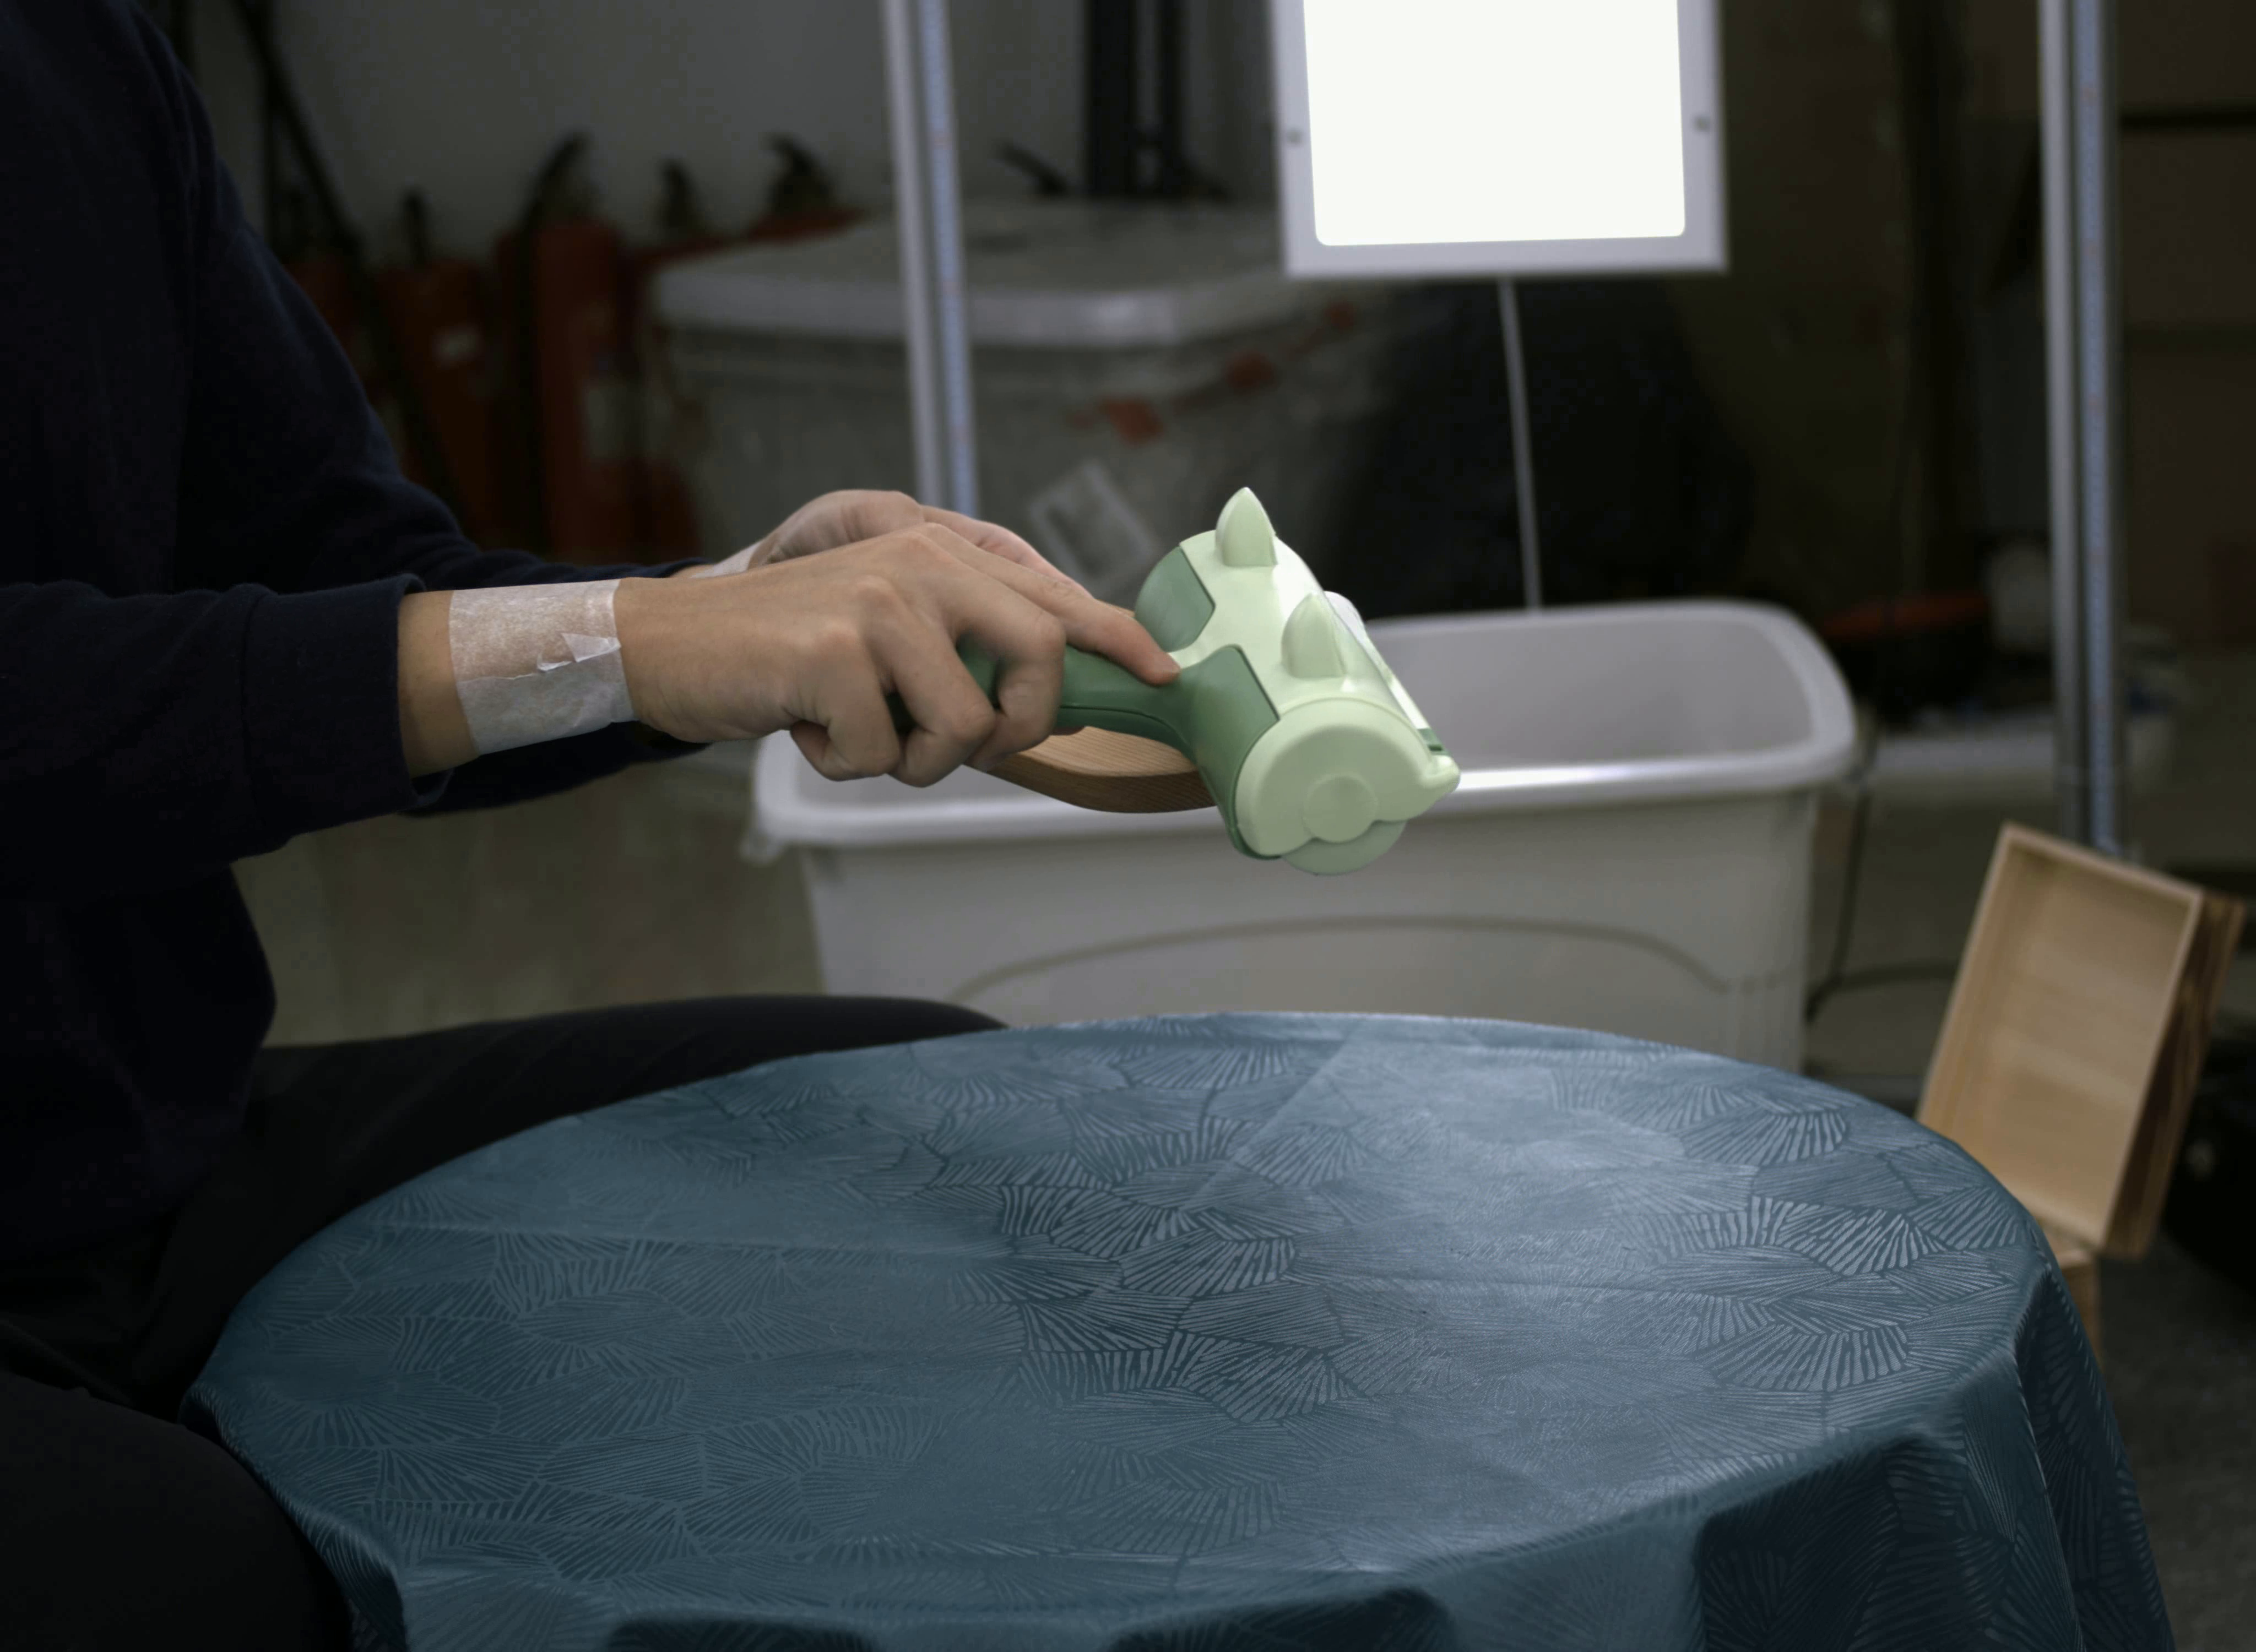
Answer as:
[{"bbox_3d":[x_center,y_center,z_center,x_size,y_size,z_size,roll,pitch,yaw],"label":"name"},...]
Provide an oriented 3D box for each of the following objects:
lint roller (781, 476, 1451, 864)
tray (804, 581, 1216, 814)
[{"bbox_3d":[-0.008,-0.063,1.650,0.181,0.083,0.199,14,16,-13],"label":"lint roller"},{"bbox_3d":[-0.019,-0.043,1.782,0.099,0.020,0.235,-24,27,-29],"label":"tray"}]
